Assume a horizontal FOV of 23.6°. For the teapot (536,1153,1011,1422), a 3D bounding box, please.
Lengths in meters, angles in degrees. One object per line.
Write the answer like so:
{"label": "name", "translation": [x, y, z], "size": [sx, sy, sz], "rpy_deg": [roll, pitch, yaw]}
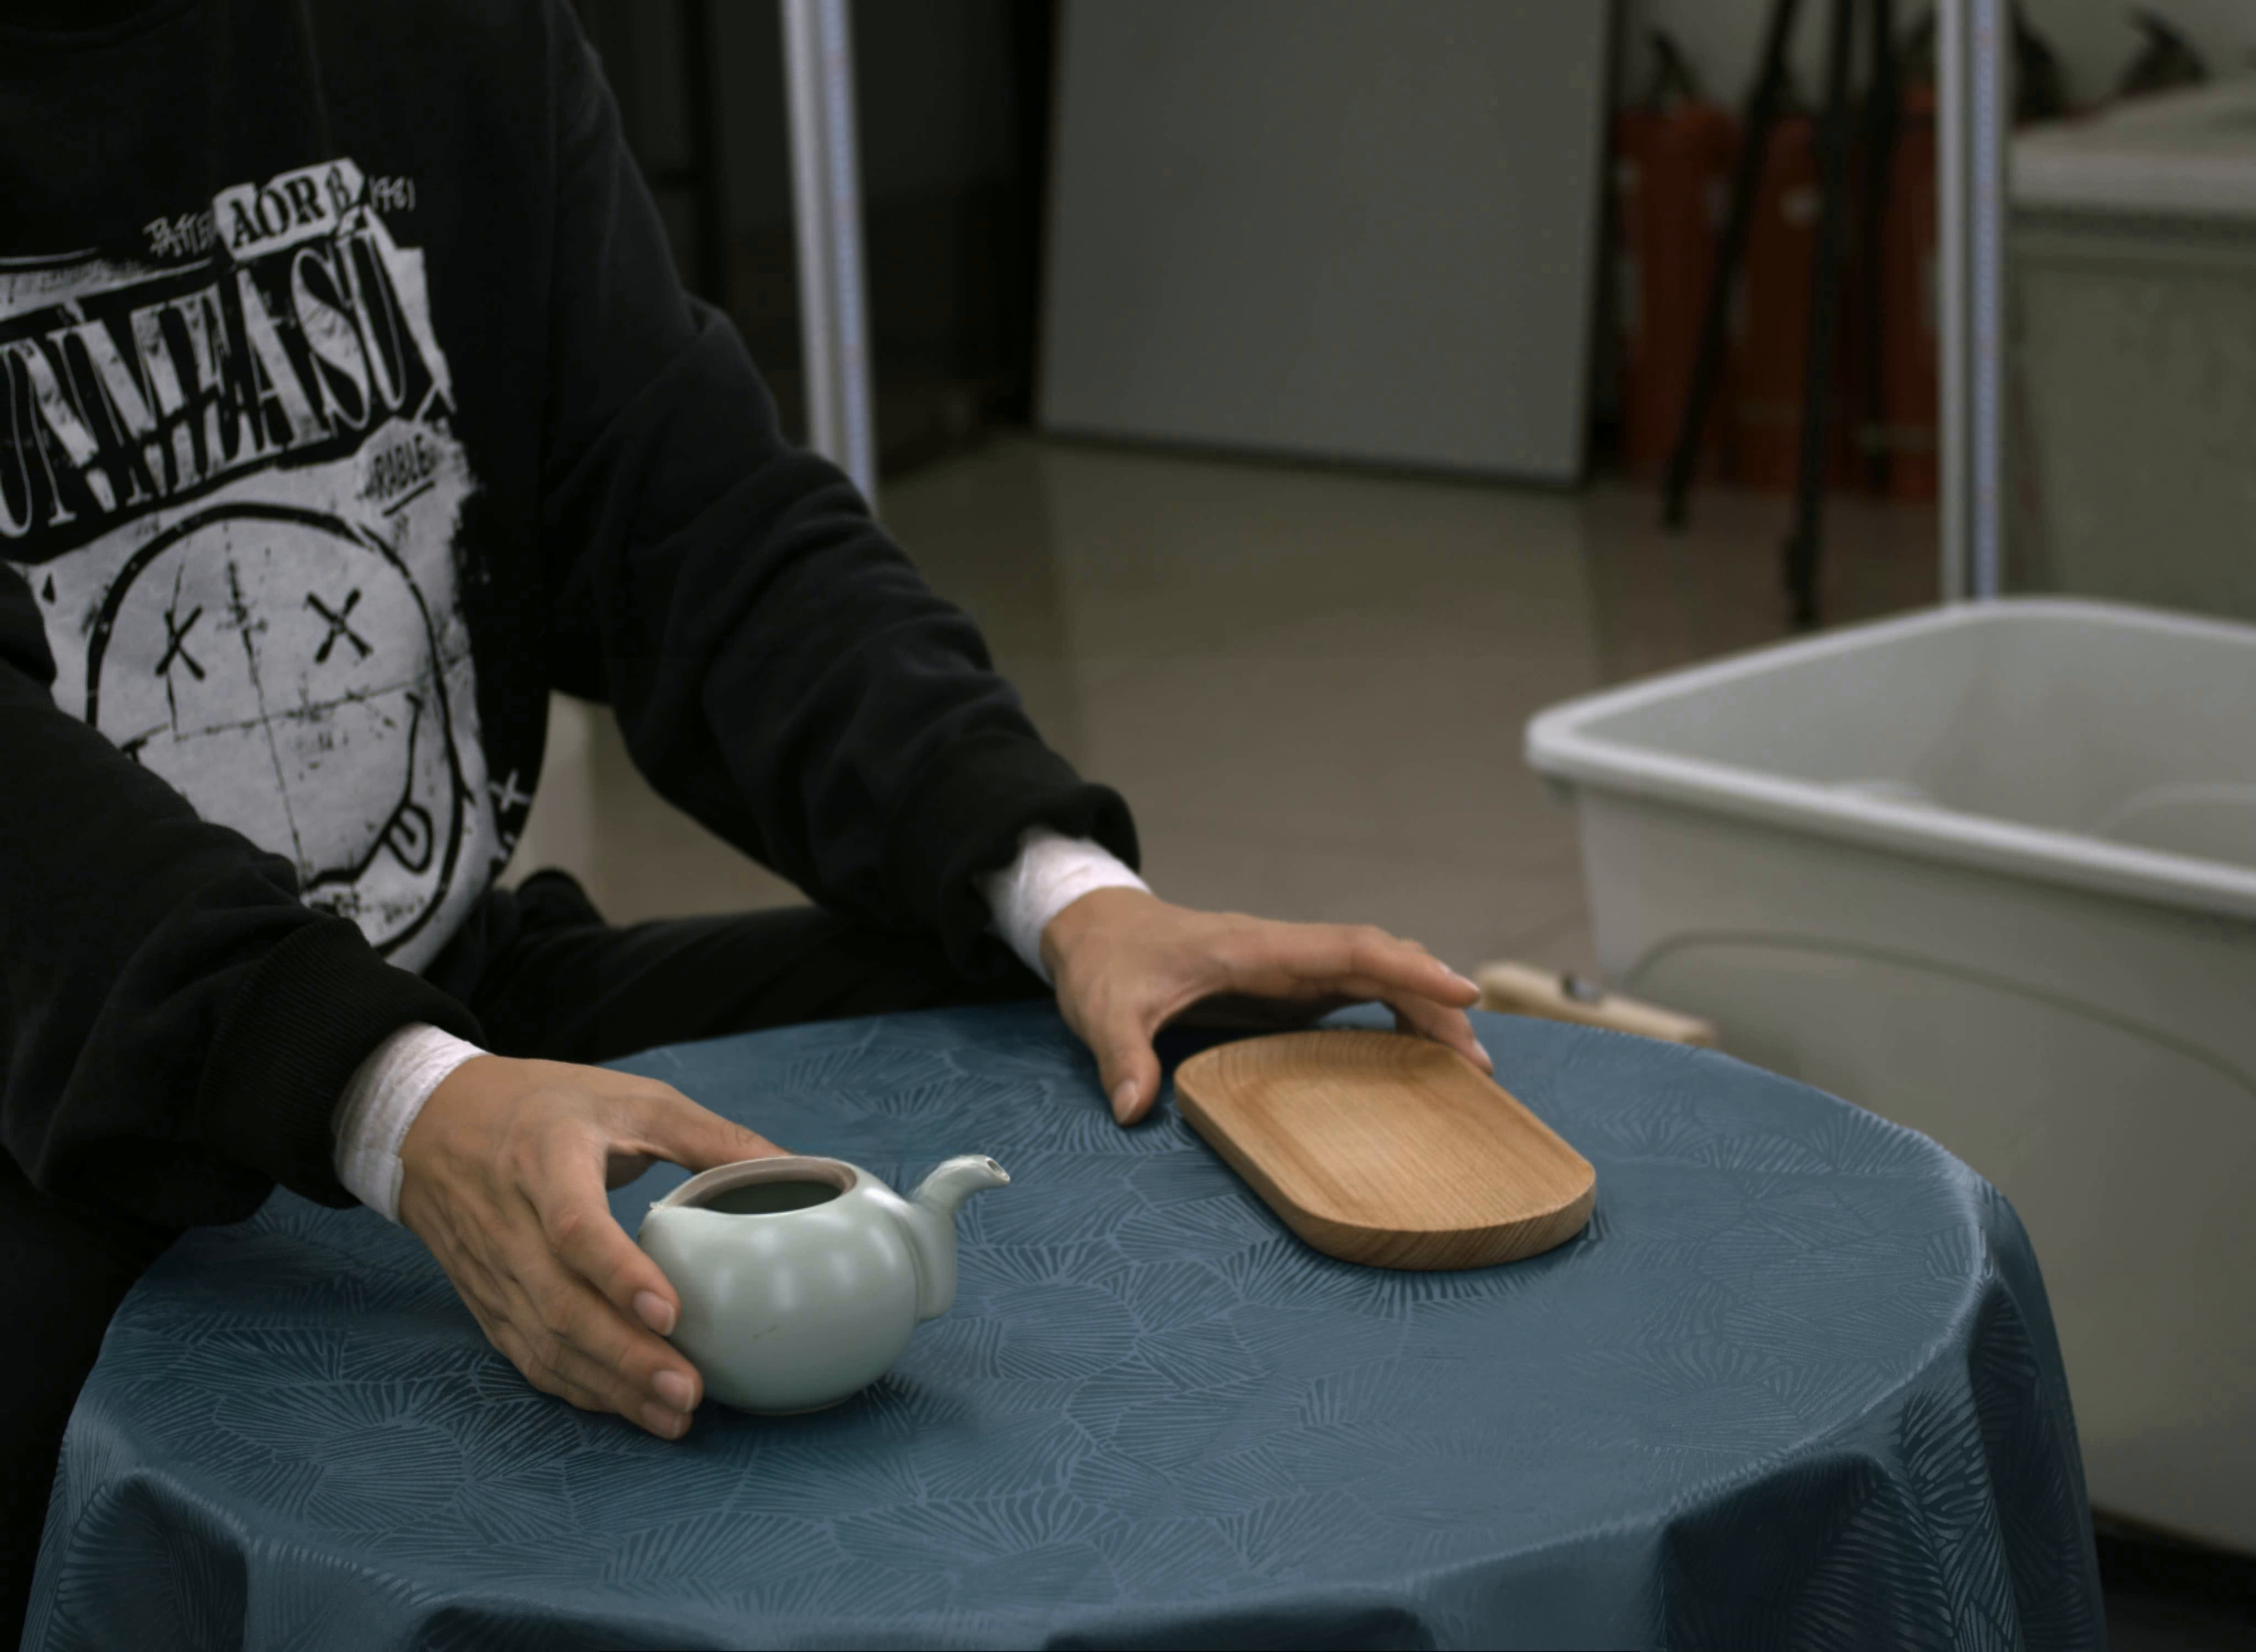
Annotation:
{"label": "teapot", "translation": [-0.103, 0.135, 1.601], "size": [0.142, 0.075, 0.088], "rpy_deg": [-1, 13, 7]}

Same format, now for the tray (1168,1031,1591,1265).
{"label": "tray", "translation": [0.081, 0.105, 1.783], "size": [0.100, 0.020, 0.233], "rpy_deg": [-6, 12, -14]}
